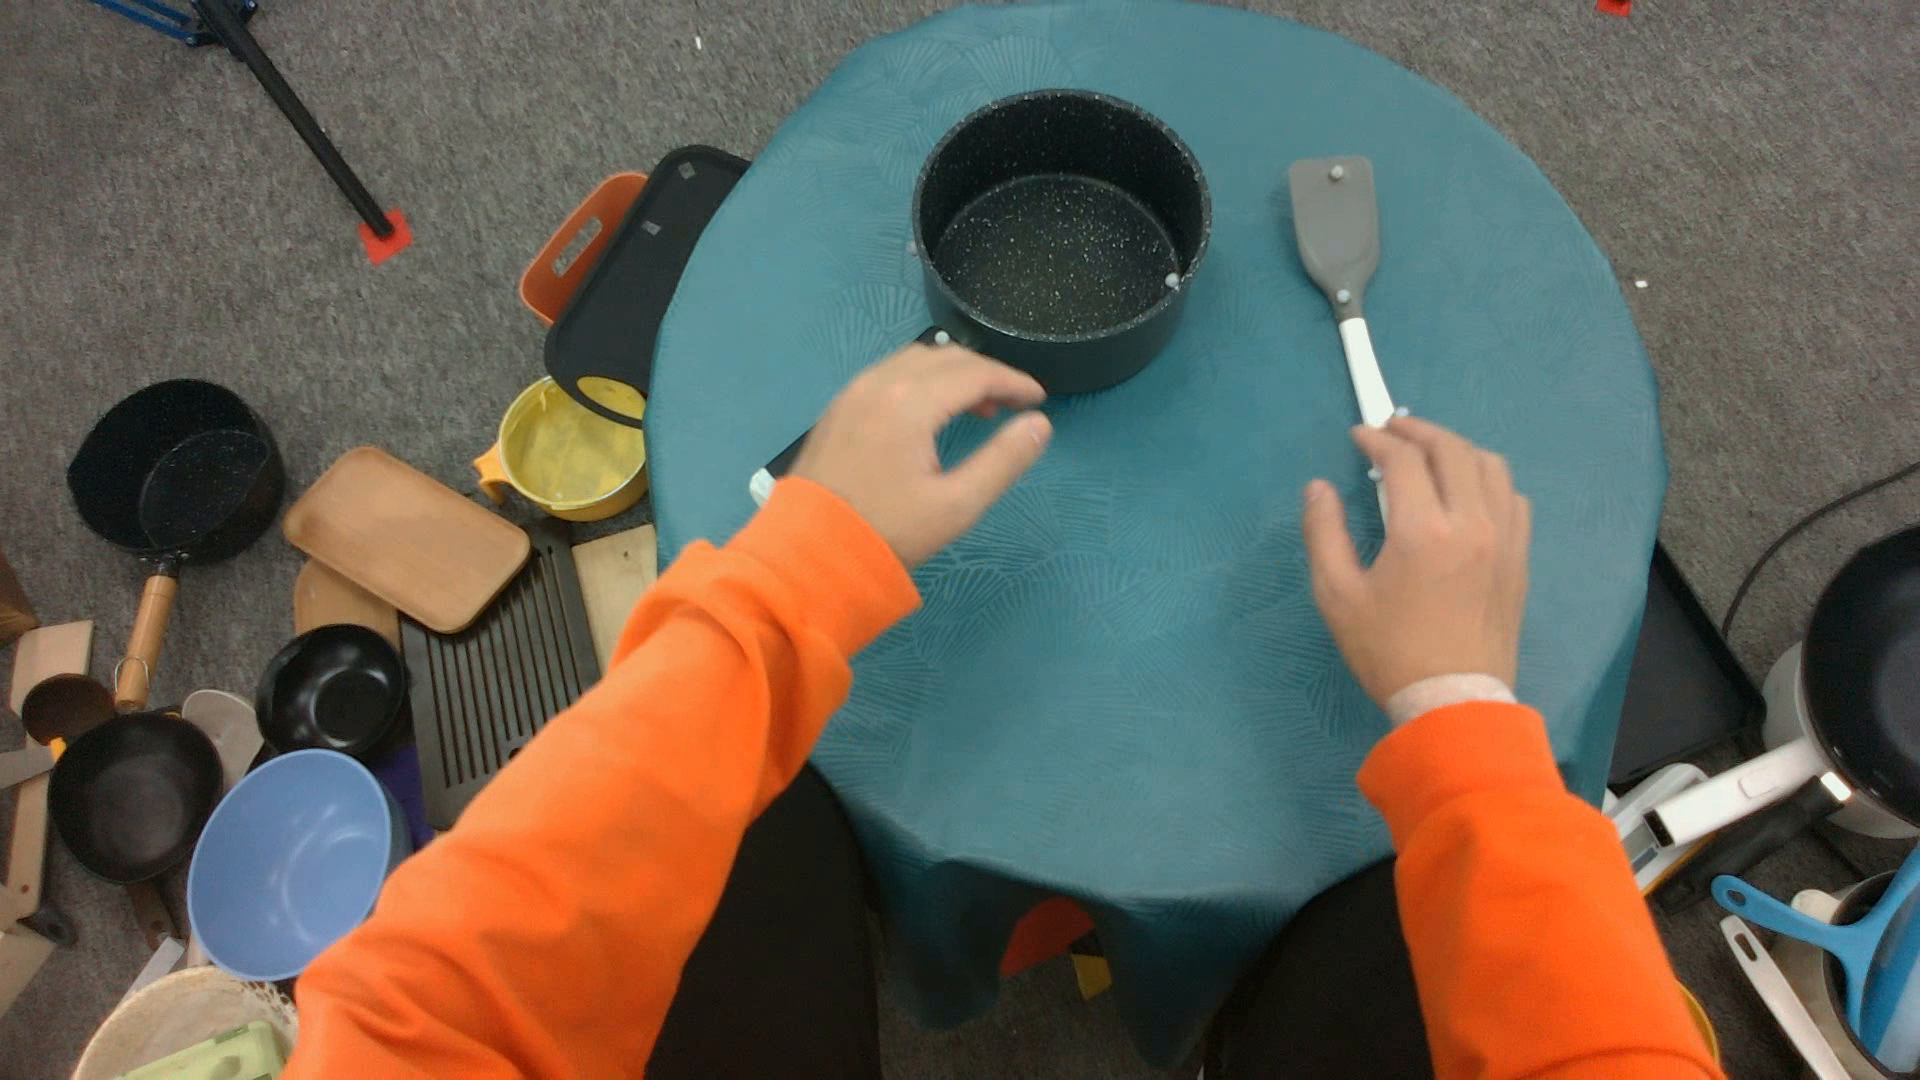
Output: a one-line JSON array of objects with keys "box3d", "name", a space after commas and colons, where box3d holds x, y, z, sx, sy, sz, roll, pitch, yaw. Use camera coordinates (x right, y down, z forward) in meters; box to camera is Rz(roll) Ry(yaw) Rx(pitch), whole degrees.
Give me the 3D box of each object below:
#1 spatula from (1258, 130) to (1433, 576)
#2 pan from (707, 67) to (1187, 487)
[{"box3d": [0.227, -0.118, 0.813, 0.058, 0.032, 0.288, -8, 69, 1], "name": "spatula"}, {"box3d": [-0.010, -0.134, 0.791, 0.172, 0.086, 0.330, 40, 72, 15], "name": "pan"}]
